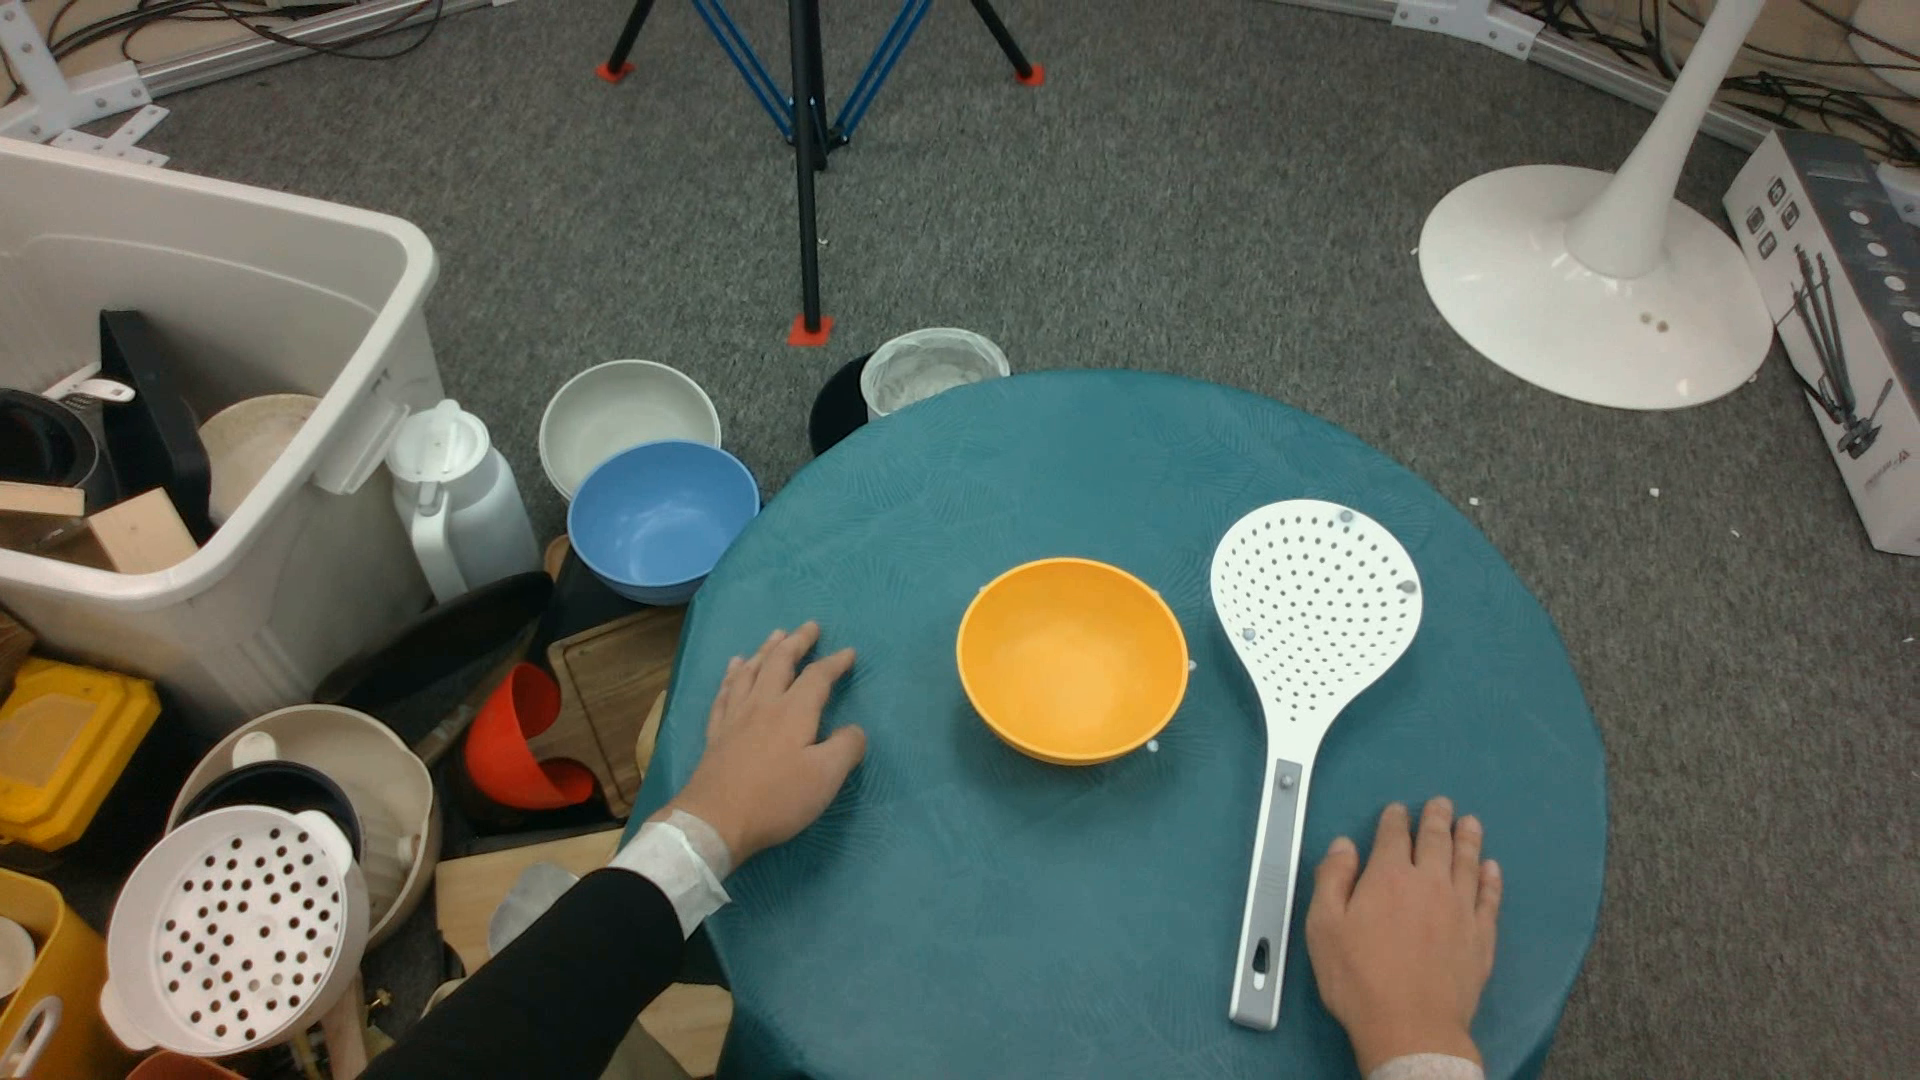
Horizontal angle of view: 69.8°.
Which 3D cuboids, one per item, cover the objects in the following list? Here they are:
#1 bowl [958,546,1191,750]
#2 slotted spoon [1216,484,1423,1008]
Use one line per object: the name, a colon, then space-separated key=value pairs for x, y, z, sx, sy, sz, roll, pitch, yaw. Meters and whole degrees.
bowl: x=0.070 y=0.078 z=0.870 sx=0.145 sy=0.060 sz=0.146 roll=1 pitch=53 yaw=-1
slotted spoon: x=0.208 y=0.114 z=0.858 sx=0.136 sy=0.045 sz=0.351 roll=13 pitch=56 yaw=7
